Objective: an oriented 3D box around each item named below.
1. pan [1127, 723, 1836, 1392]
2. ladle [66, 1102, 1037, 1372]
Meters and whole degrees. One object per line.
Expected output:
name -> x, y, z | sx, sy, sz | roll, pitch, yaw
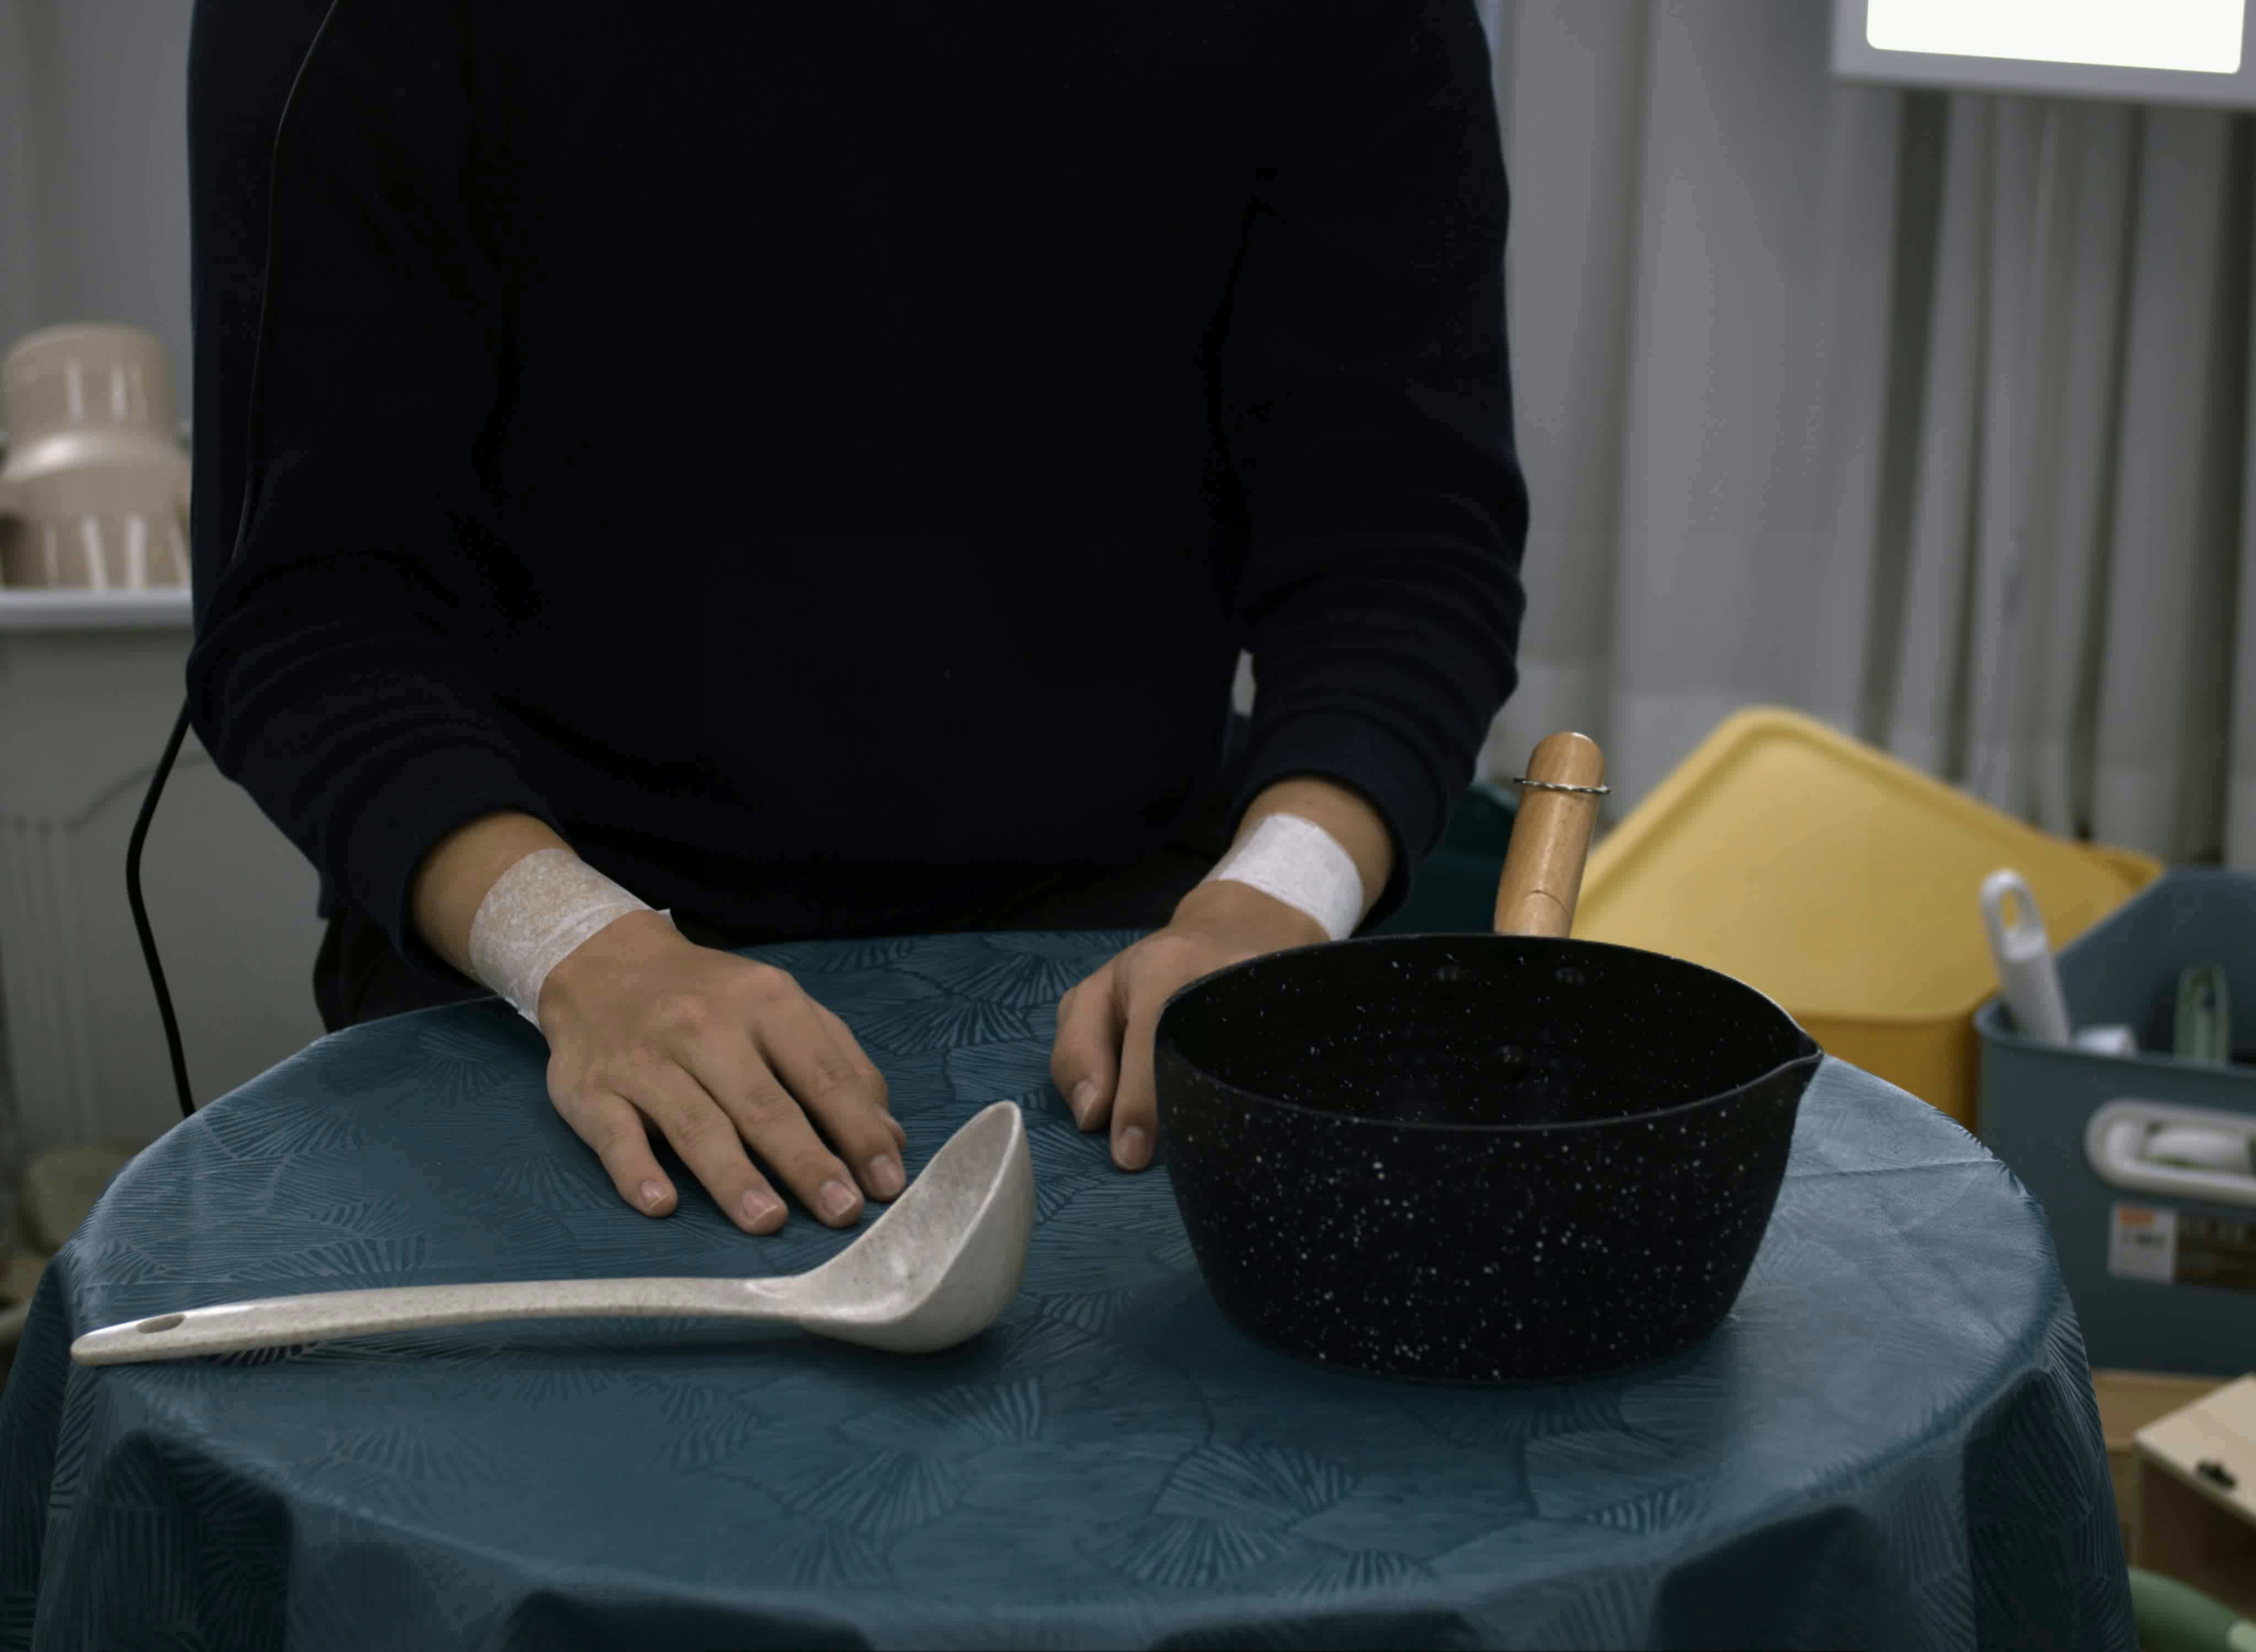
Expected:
pan -> 0.113, 0.064, 1.596 | 0.206, 0.109, 0.342 | 2, 17, 9
ladle -> -0.162, 0.116, 1.481 | 0.274, 0.070, 0.088 | -1, 23, -4
